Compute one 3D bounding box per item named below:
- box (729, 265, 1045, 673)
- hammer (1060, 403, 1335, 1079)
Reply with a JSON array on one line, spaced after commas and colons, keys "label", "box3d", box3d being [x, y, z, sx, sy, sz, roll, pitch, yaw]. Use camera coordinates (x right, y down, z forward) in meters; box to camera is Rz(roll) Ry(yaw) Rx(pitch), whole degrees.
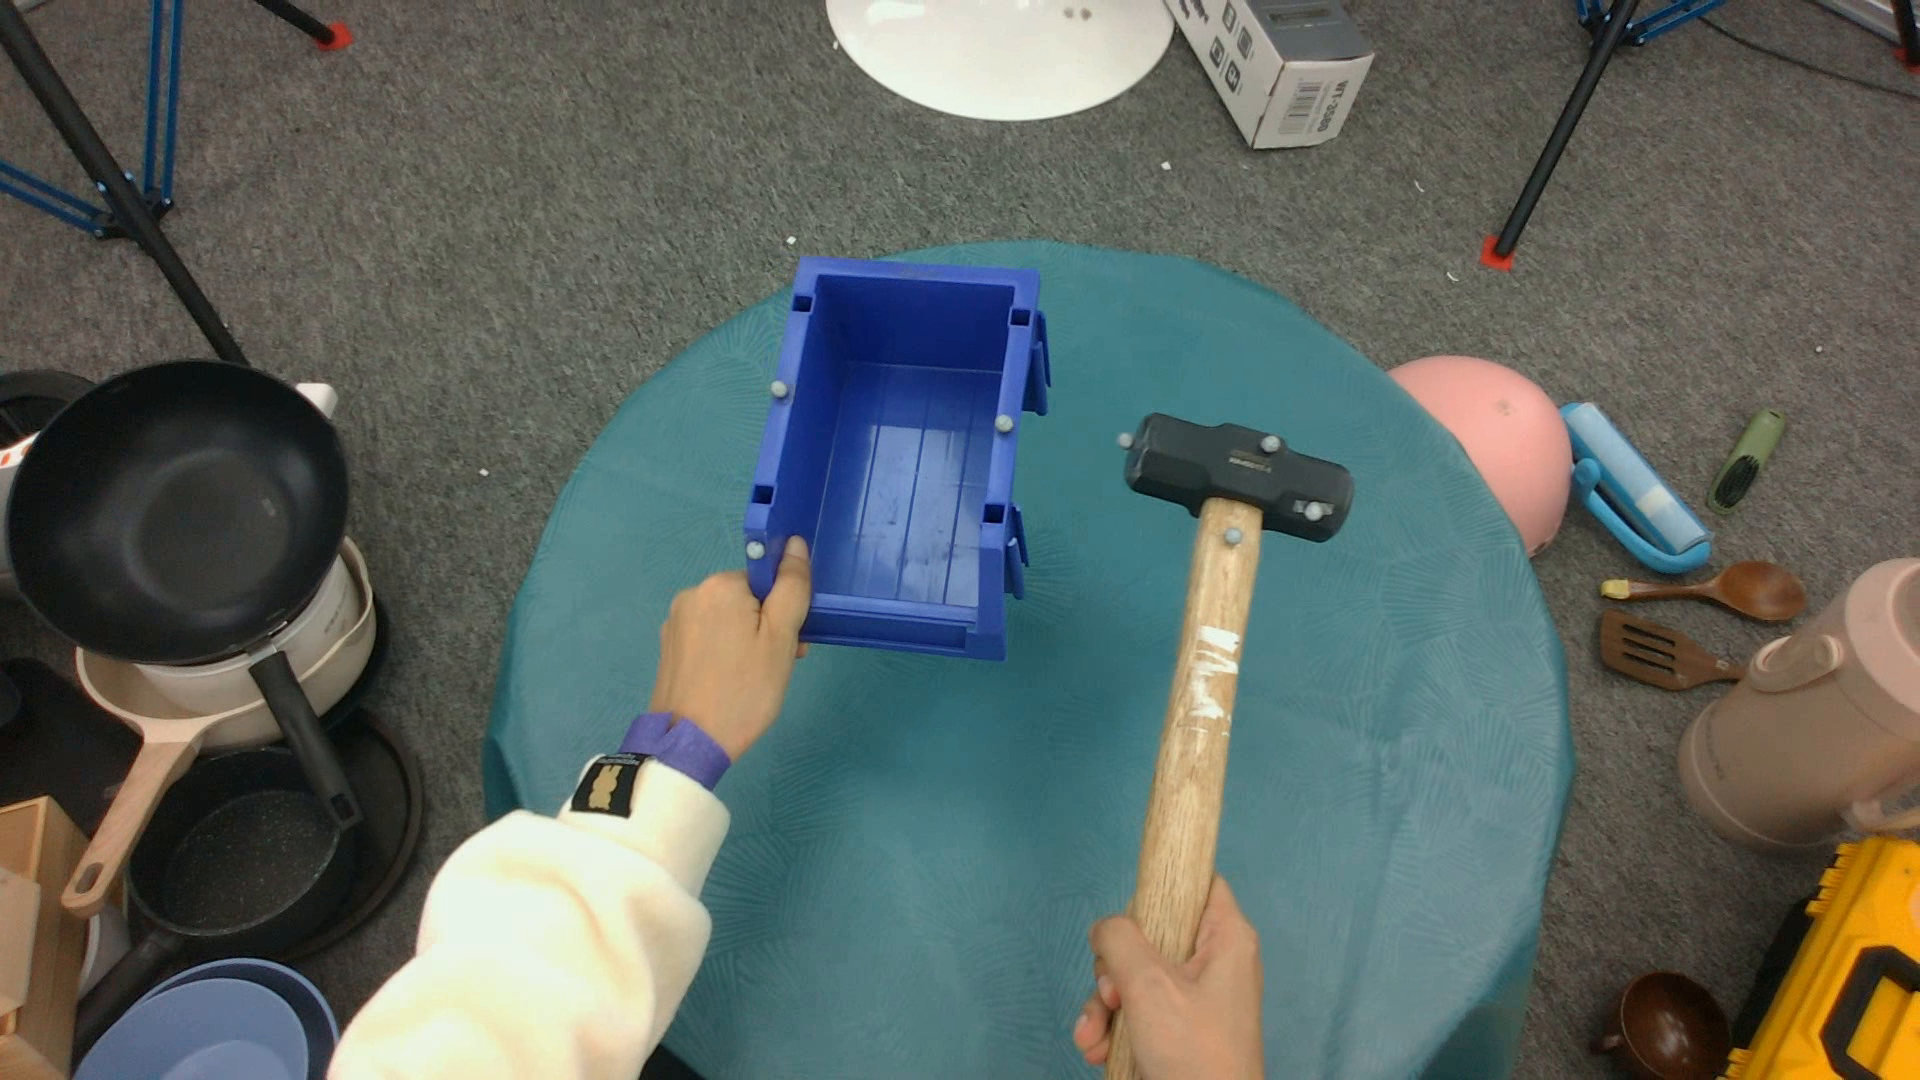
[{"label": "box", "box3d": [-0.030, -0.033, 0.666, 0.124, 0.081, 0.180, 6, 63, 8]}, {"label": "hammer", "box3d": [0.094, 0.081, 0.615, 0.107, 0.038, 0.306, 17, 63, -2]}]
